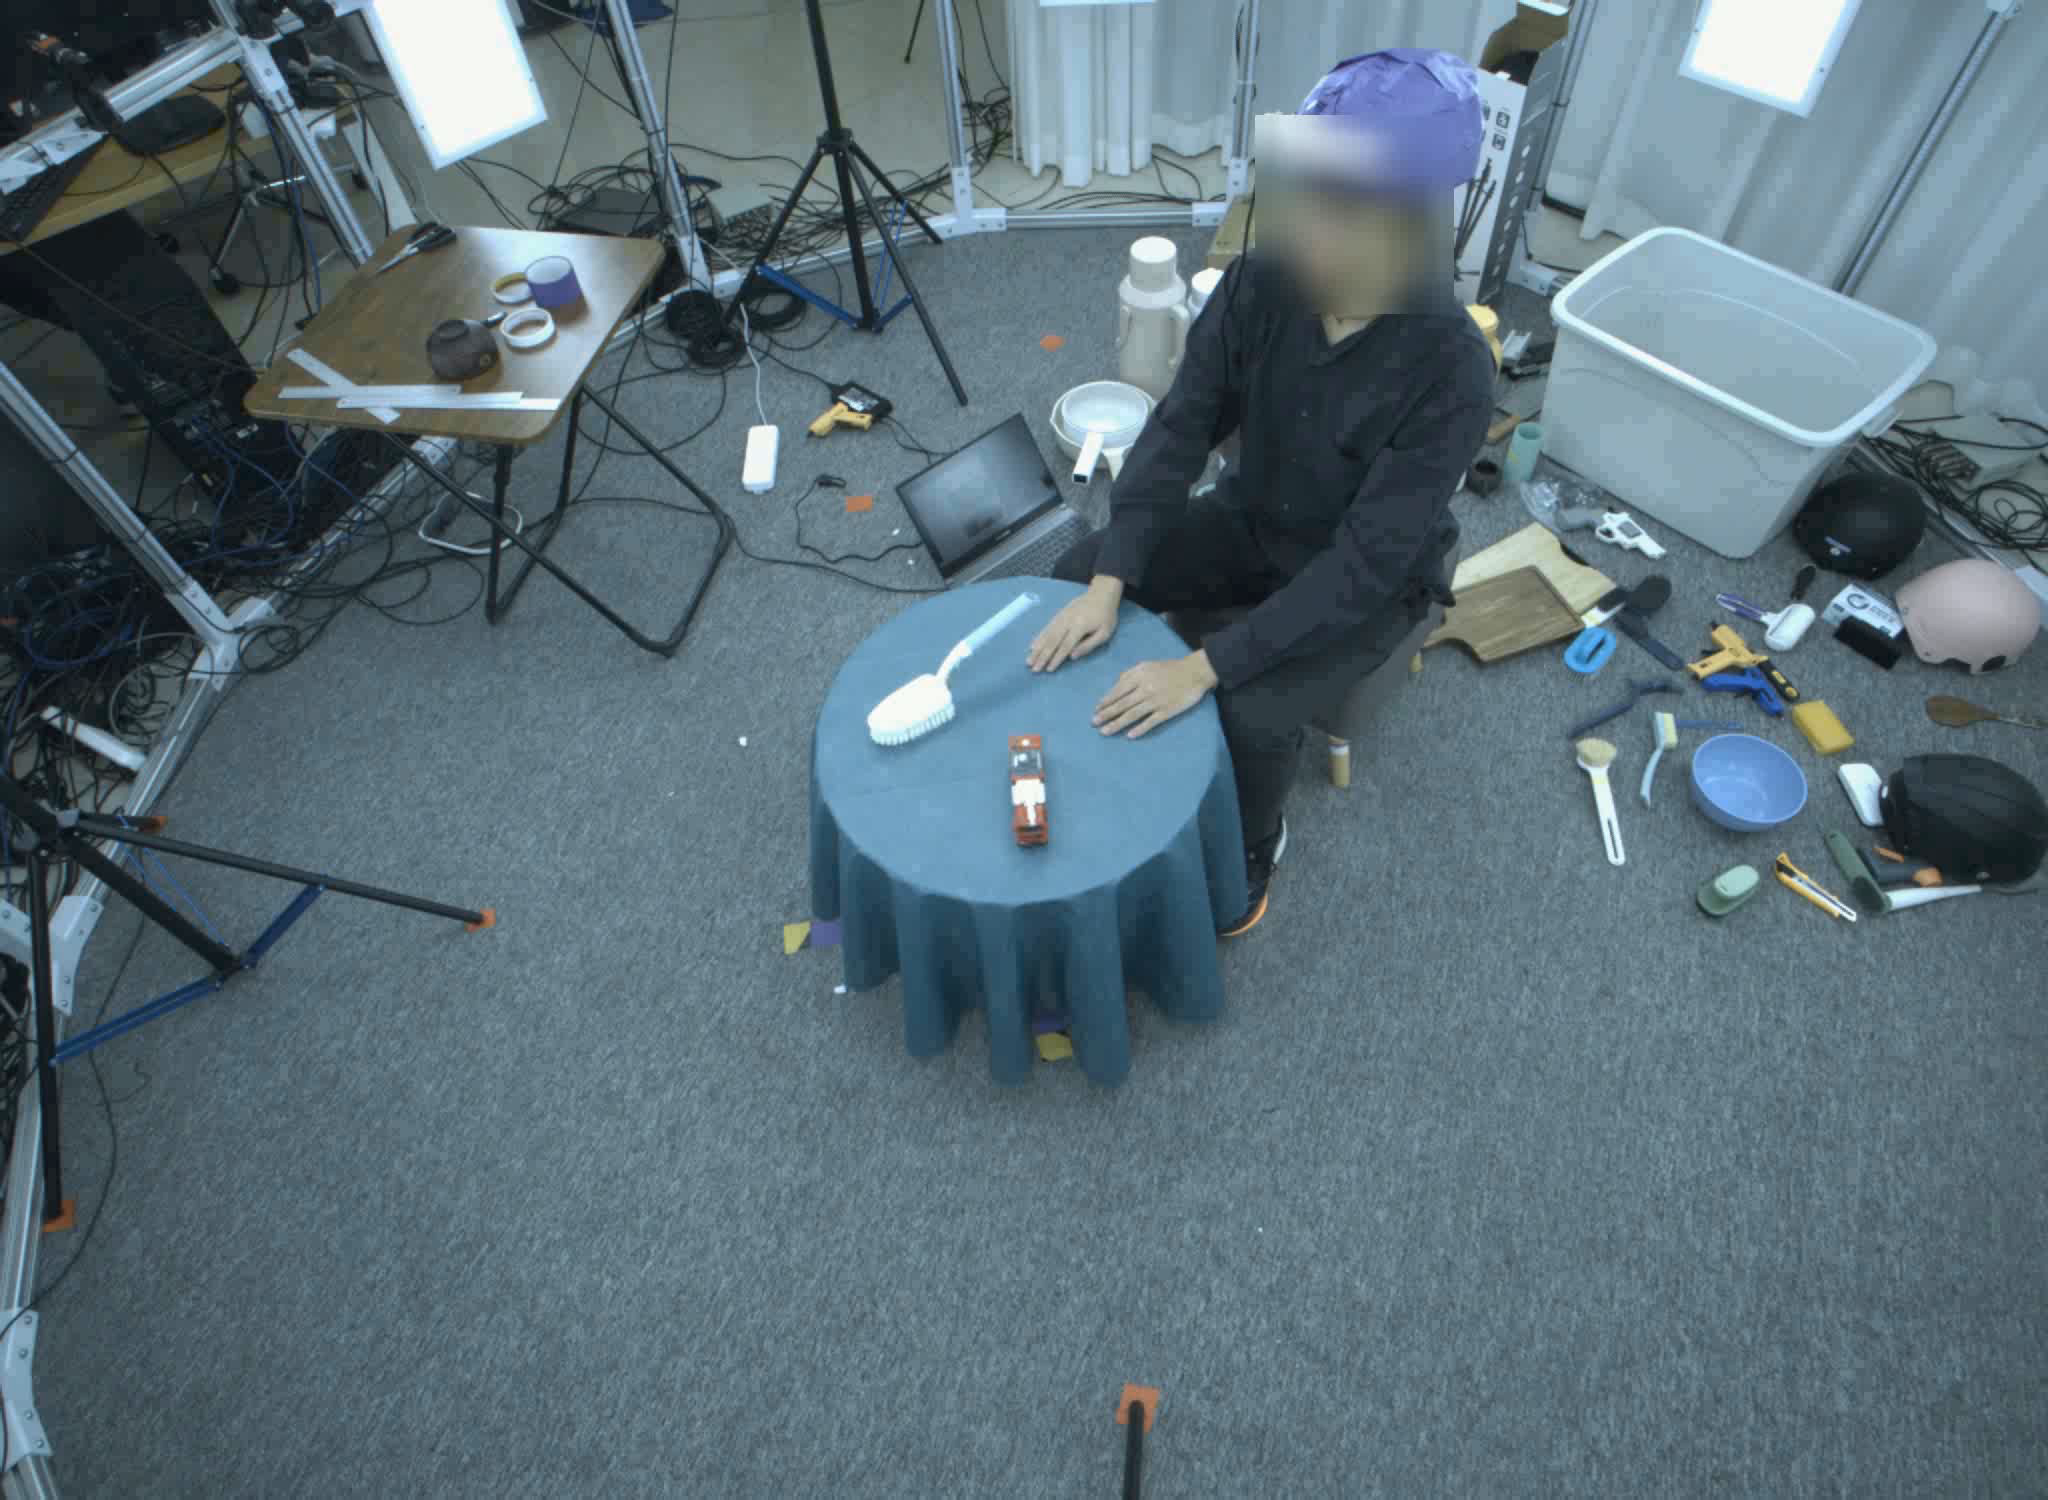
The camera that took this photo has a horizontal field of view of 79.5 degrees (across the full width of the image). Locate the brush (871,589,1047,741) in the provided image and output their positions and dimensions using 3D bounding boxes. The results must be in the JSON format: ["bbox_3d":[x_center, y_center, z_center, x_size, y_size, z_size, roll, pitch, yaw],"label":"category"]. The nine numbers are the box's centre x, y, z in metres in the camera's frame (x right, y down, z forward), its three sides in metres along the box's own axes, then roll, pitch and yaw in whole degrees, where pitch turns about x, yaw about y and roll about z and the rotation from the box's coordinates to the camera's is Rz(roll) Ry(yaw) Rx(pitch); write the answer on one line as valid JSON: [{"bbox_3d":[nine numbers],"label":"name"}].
[{"bbox_3d":[-0.087,-0.117,1.822,0.326,0.084,0.083,-38,97,-9],"label":"brush"}]

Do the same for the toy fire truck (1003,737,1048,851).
[{"bbox_3d":[0.001,0.060,1.708,0.054,0.071,0.166,-4,53,-2],"label":"toy fire truck"}]
